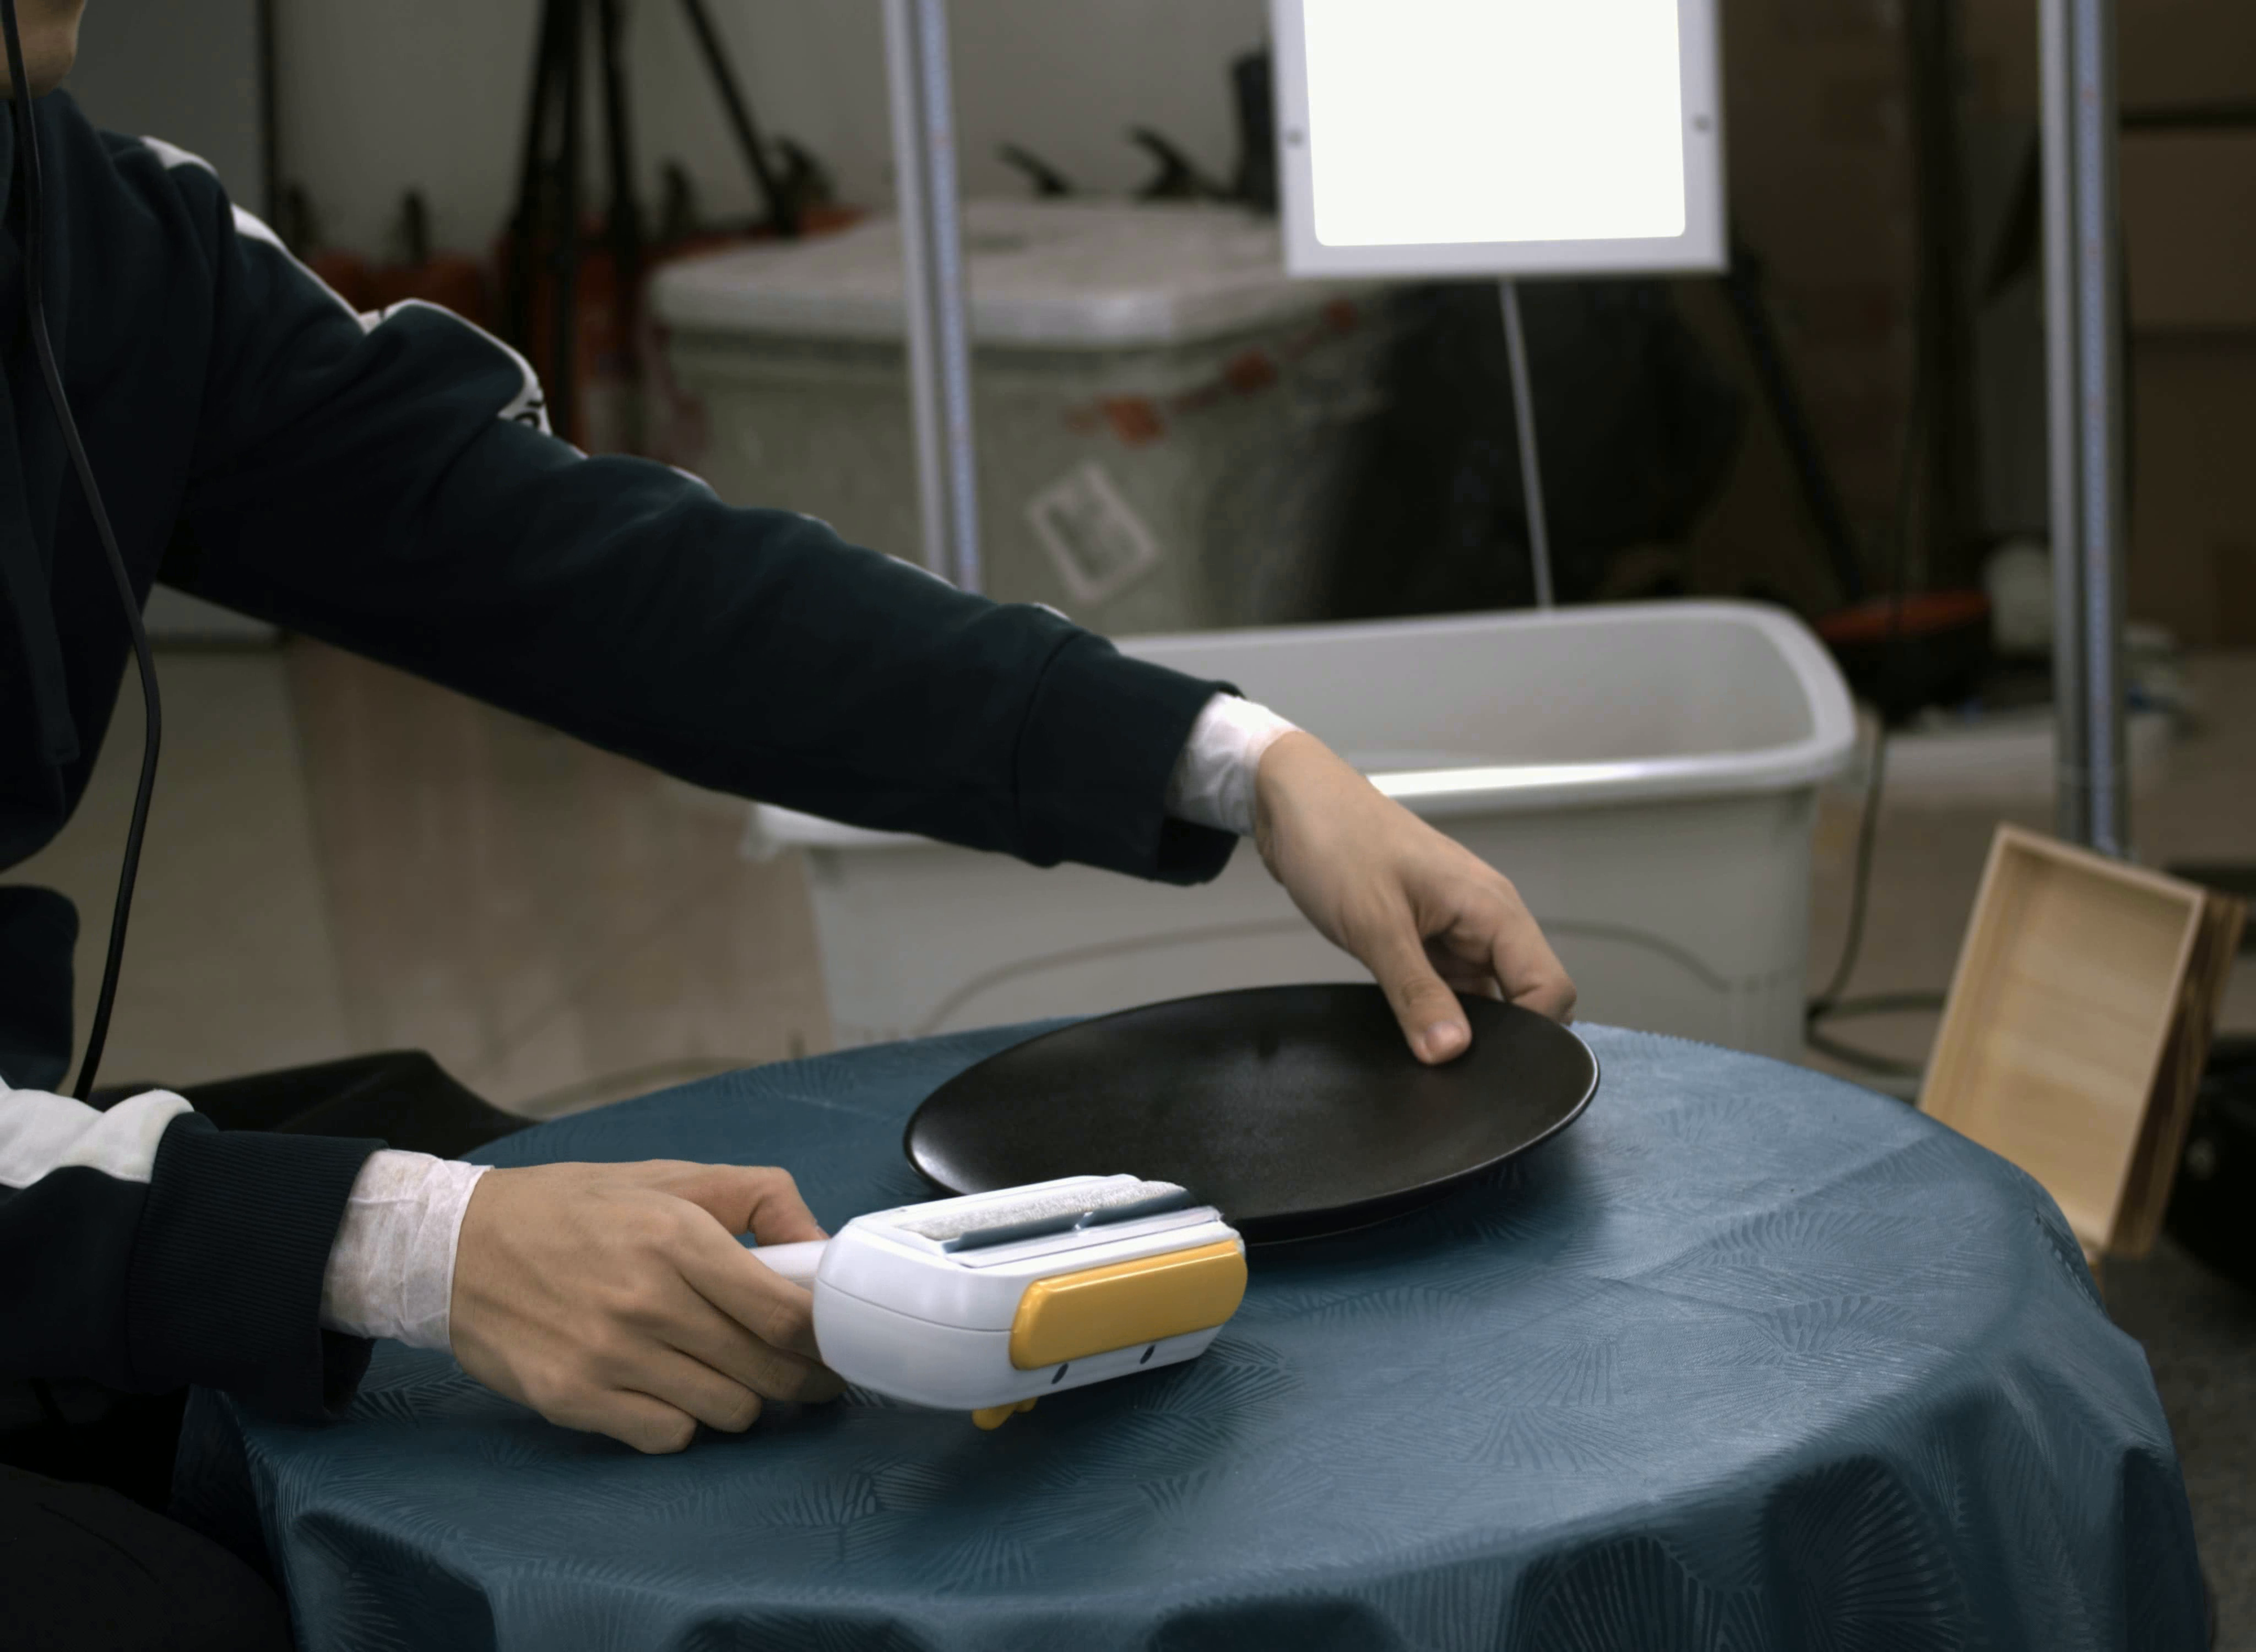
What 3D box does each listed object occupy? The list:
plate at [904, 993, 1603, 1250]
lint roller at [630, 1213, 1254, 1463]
[{"bbox_3d":[0.044,0.105,1.903,0.244,0.023,0.244,-7,15,1],"label":"plate"},{"bbox_3d":[-0.078,0.160,1.700,0.196,0.074,0.188,-9,-1,36],"label":"lint roller"}]
